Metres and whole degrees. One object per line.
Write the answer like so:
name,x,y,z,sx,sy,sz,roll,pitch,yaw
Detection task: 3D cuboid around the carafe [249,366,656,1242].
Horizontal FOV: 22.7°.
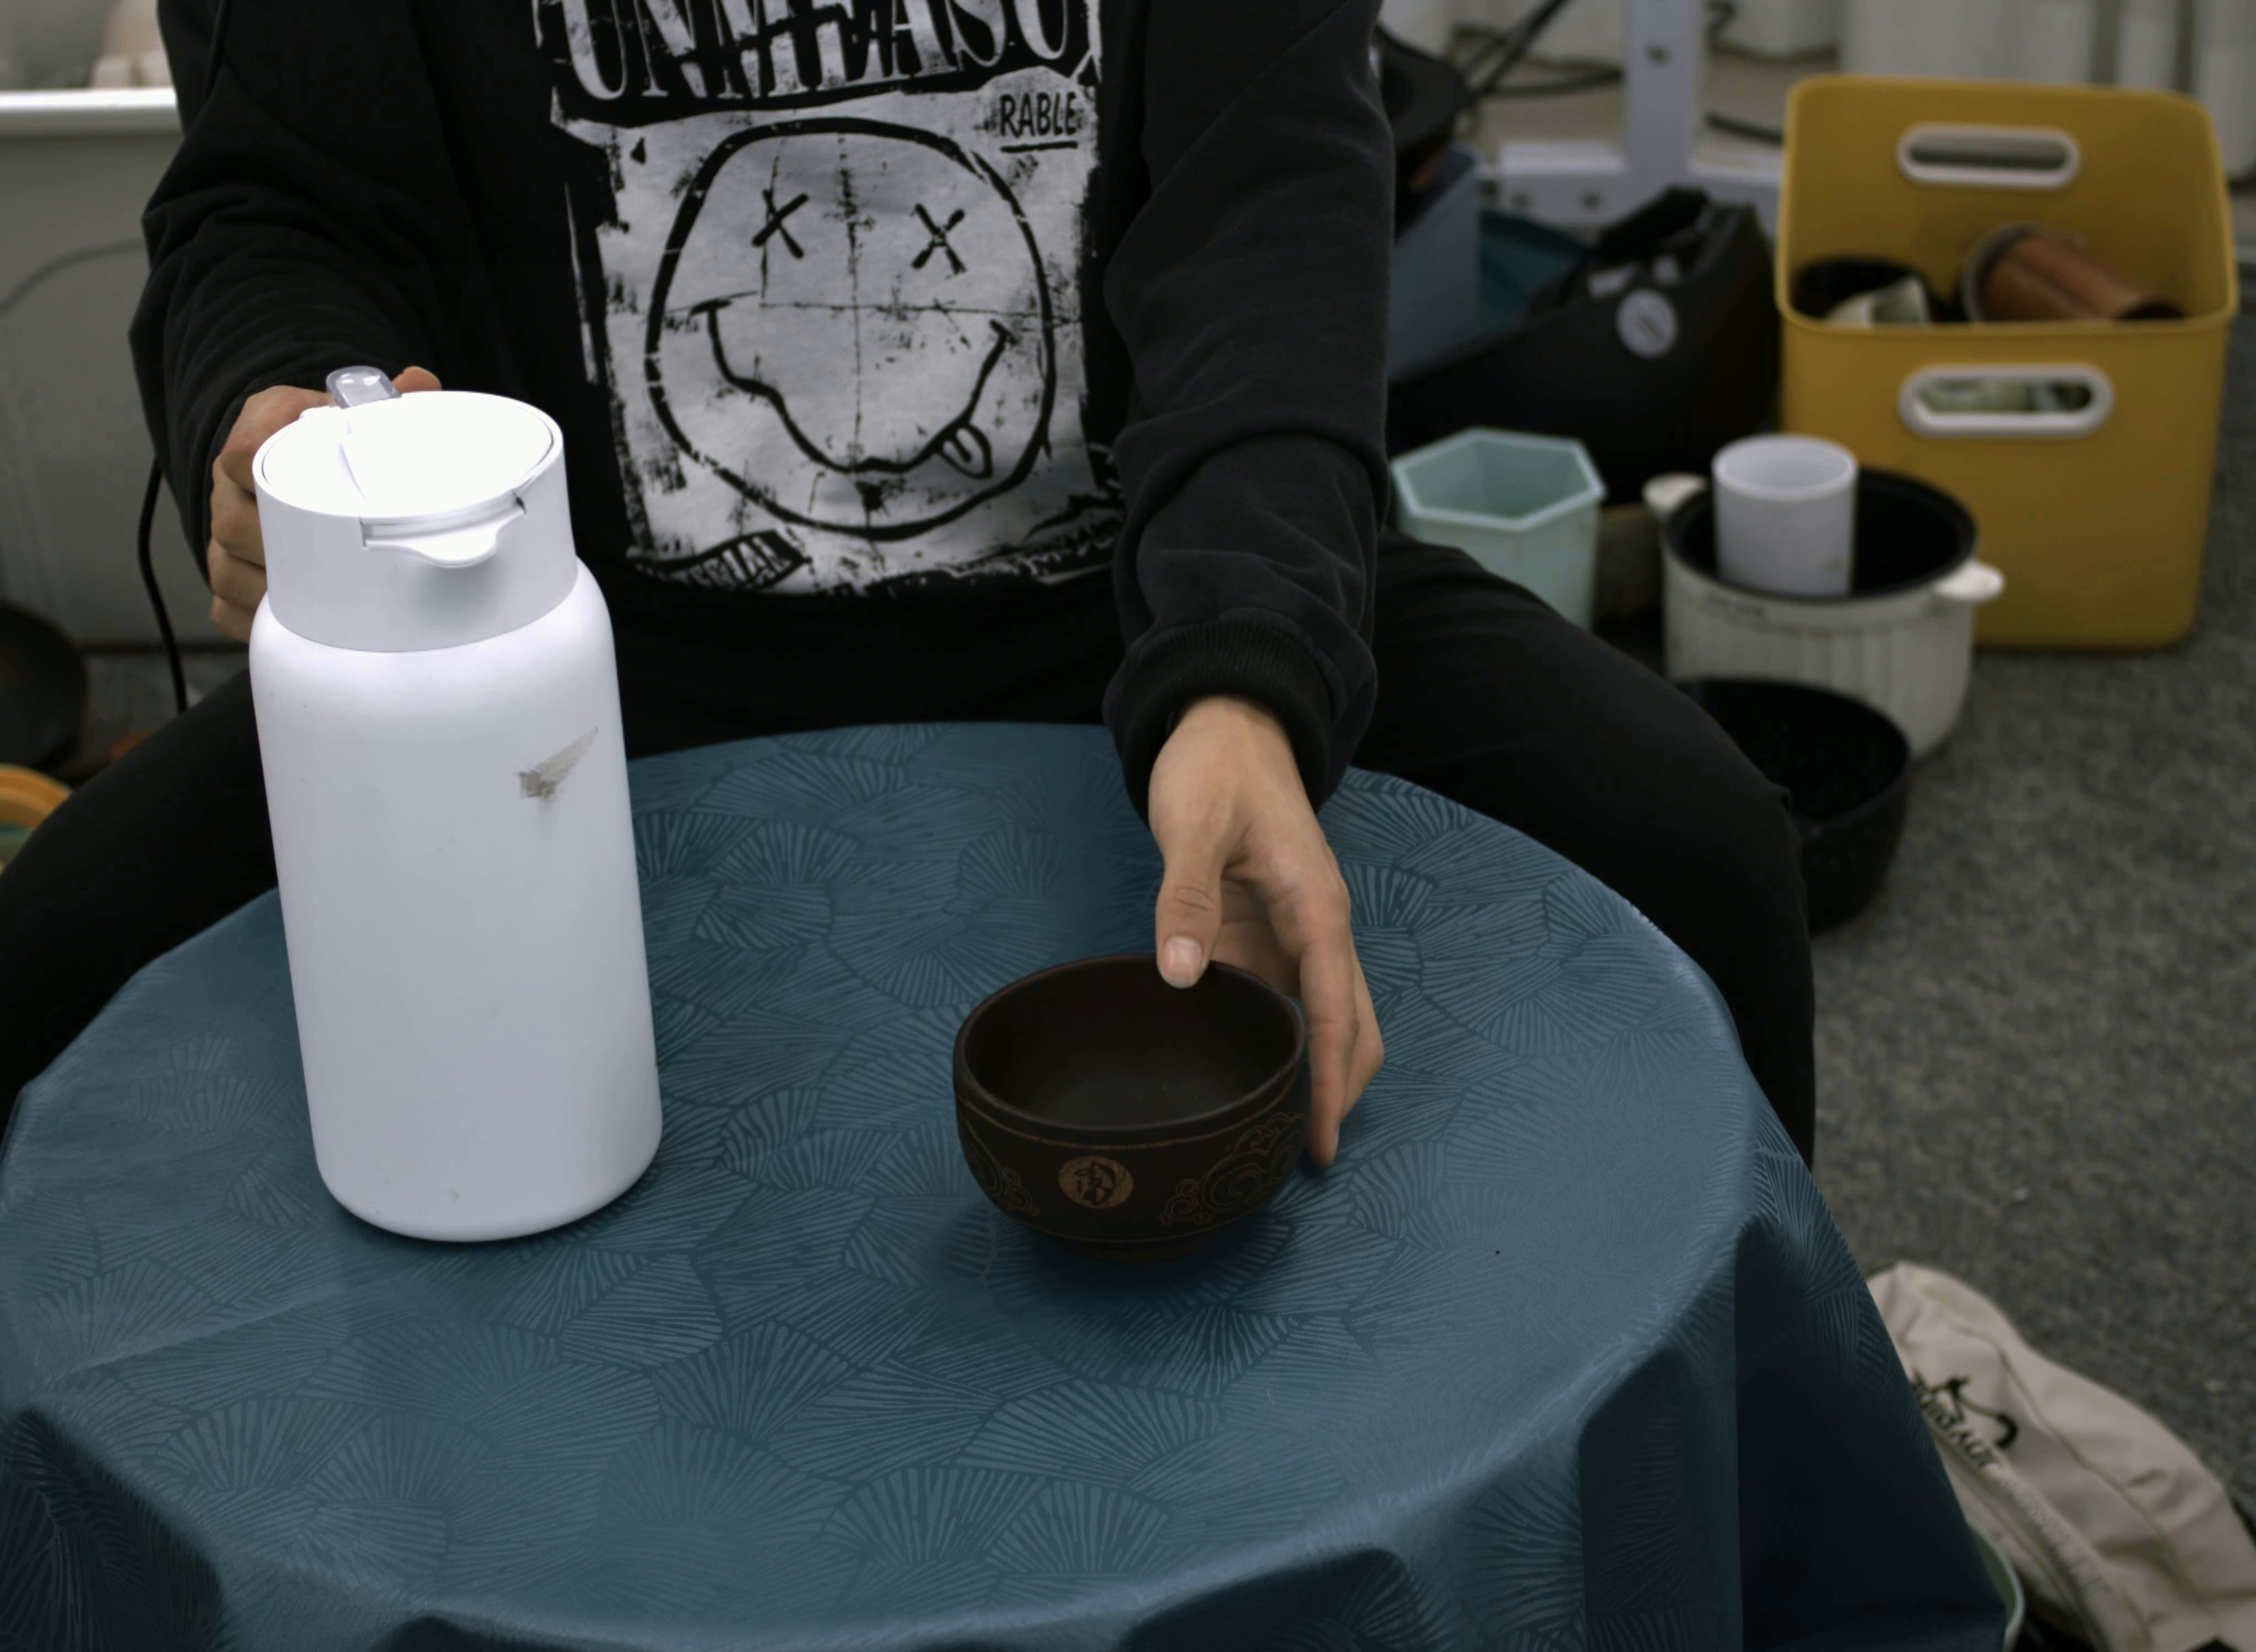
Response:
carafe,-0.229,-0.010,1.850,0.124,0.266,0.174,-15,29,-18

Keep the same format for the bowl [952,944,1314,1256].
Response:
bowl,0.003,0.096,1.828,0.117,0.069,0.120,-3,26,2
